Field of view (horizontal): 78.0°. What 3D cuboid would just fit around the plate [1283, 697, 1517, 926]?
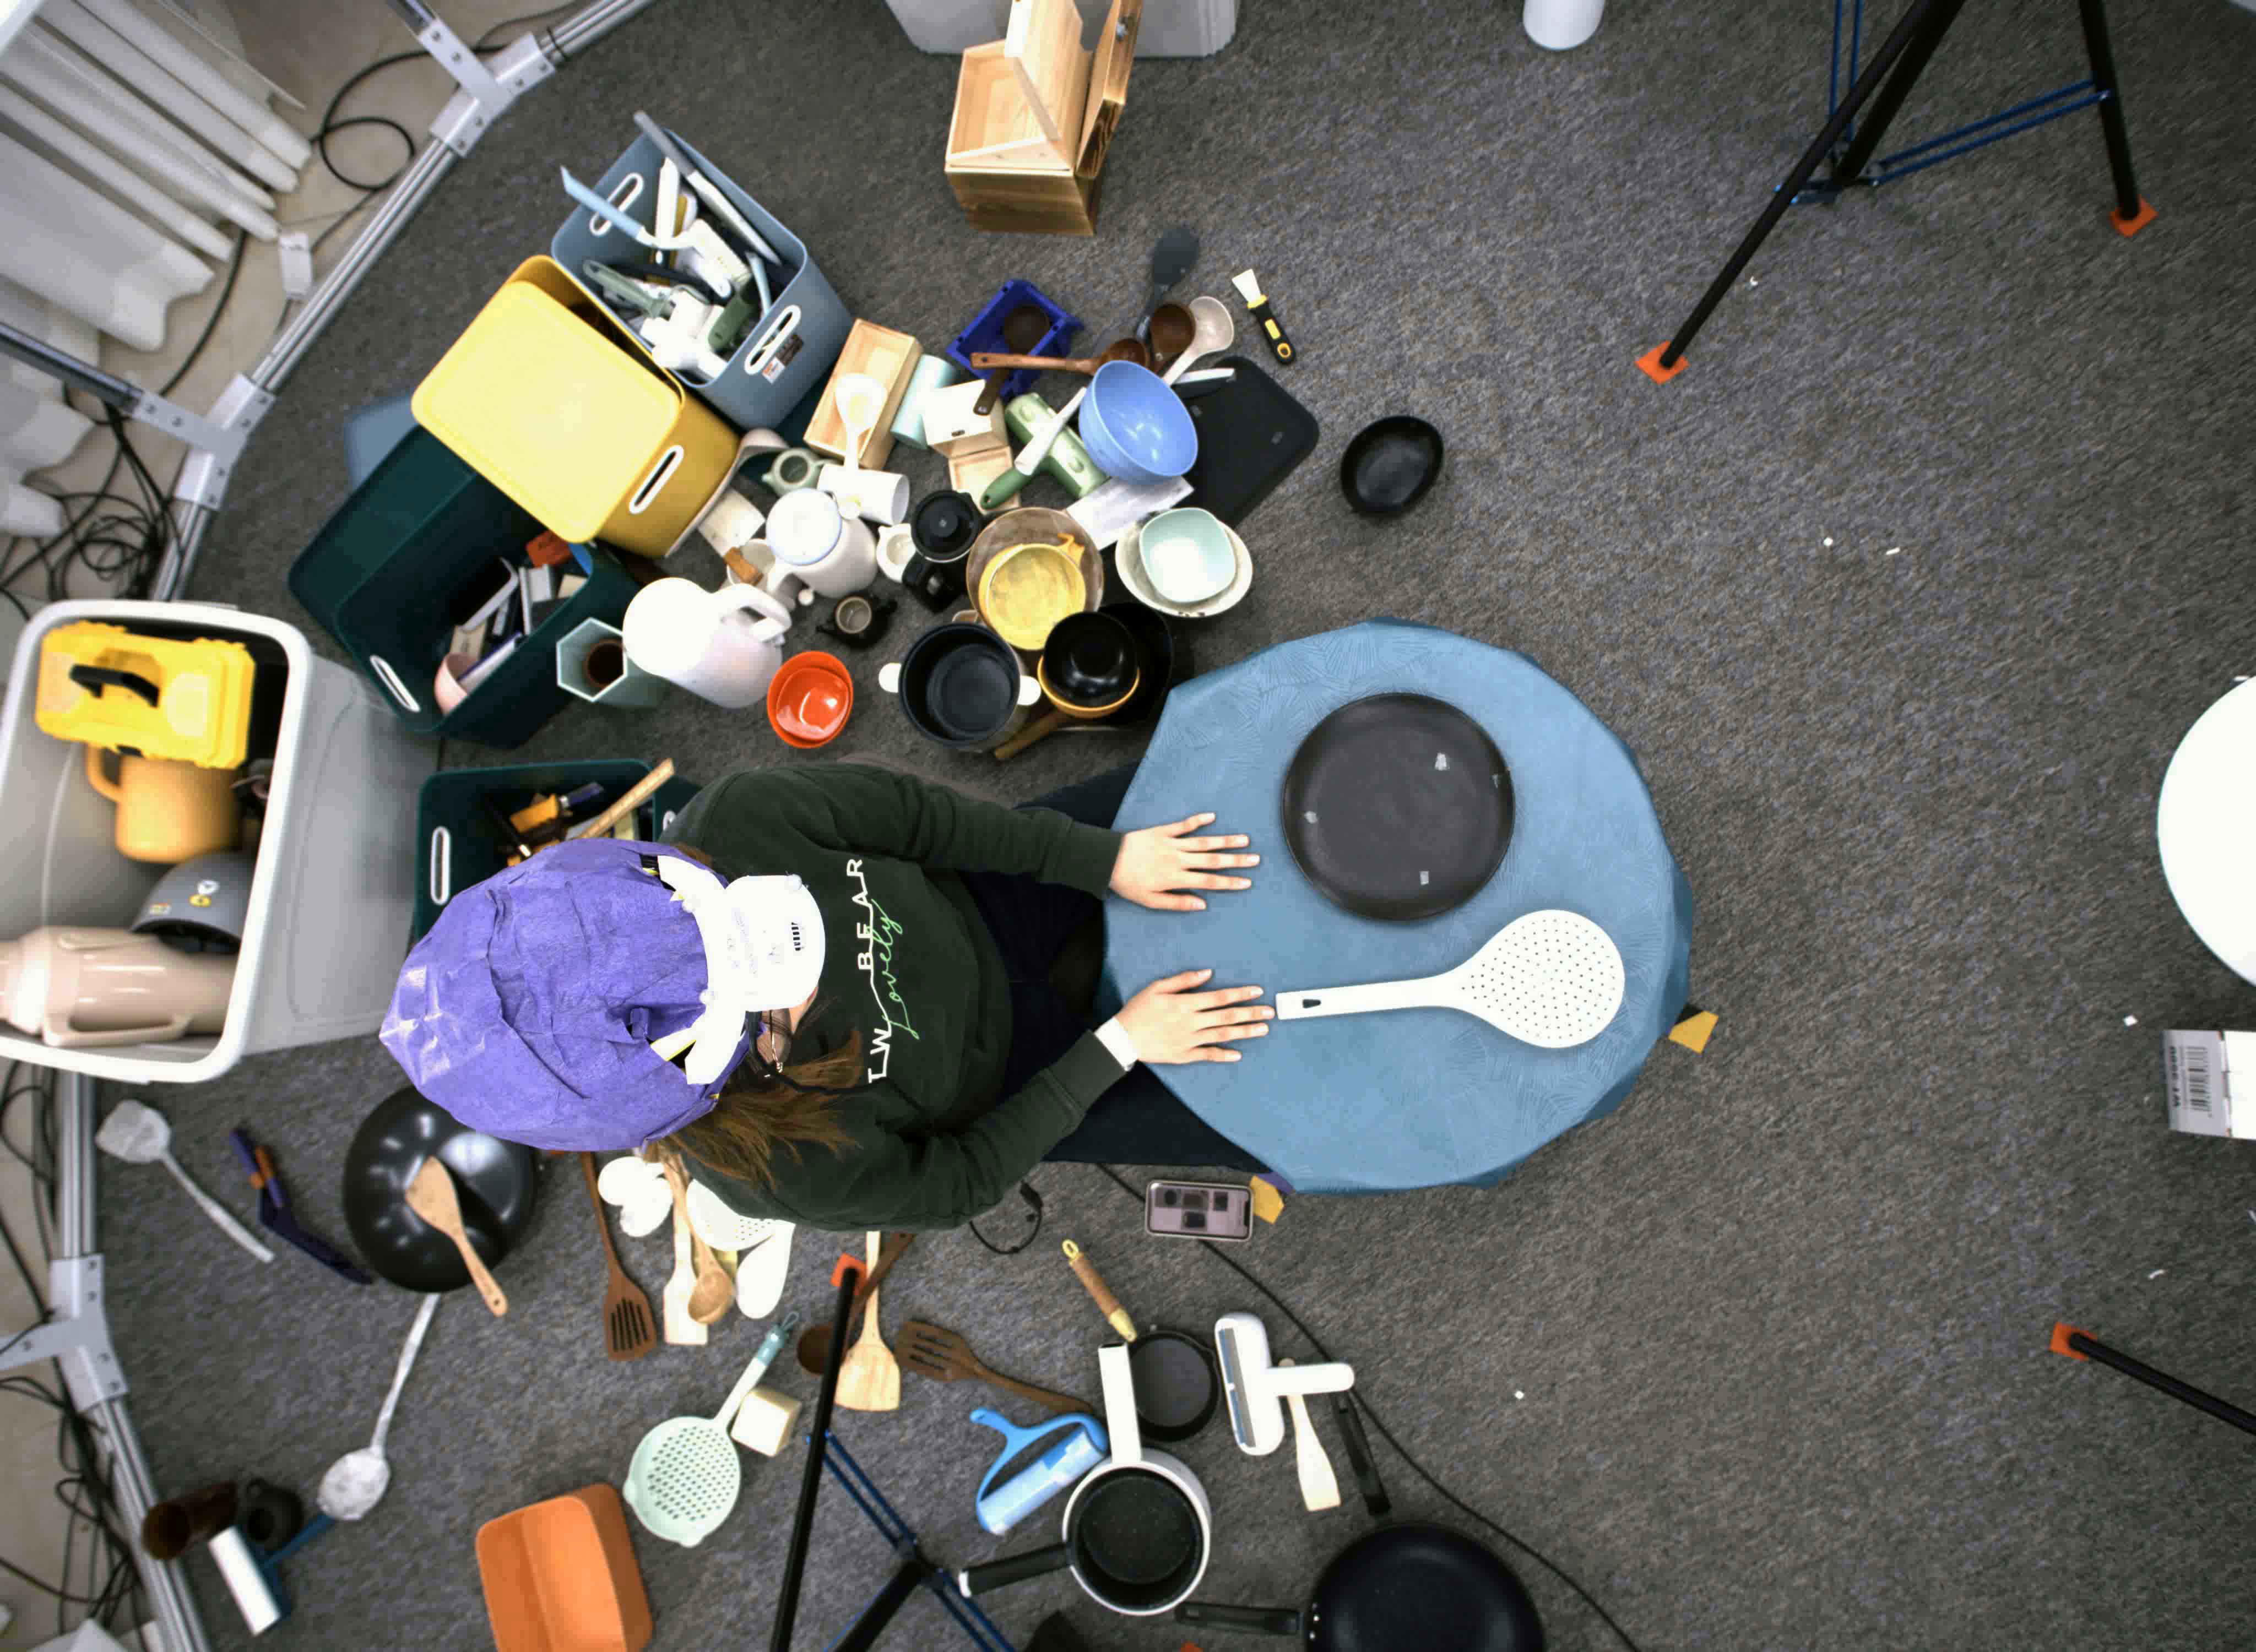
[{"bbox_3d":[0.286,-0.017,1.456,0.245,0.023,0.243,-1,86,11],"label":"plate"}]

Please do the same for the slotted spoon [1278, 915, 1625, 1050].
[{"bbox_3d":[0.329,0.170,1.424,0.351,0.046,0.135,-7,83,11],"label":"slotted spoon"}]
